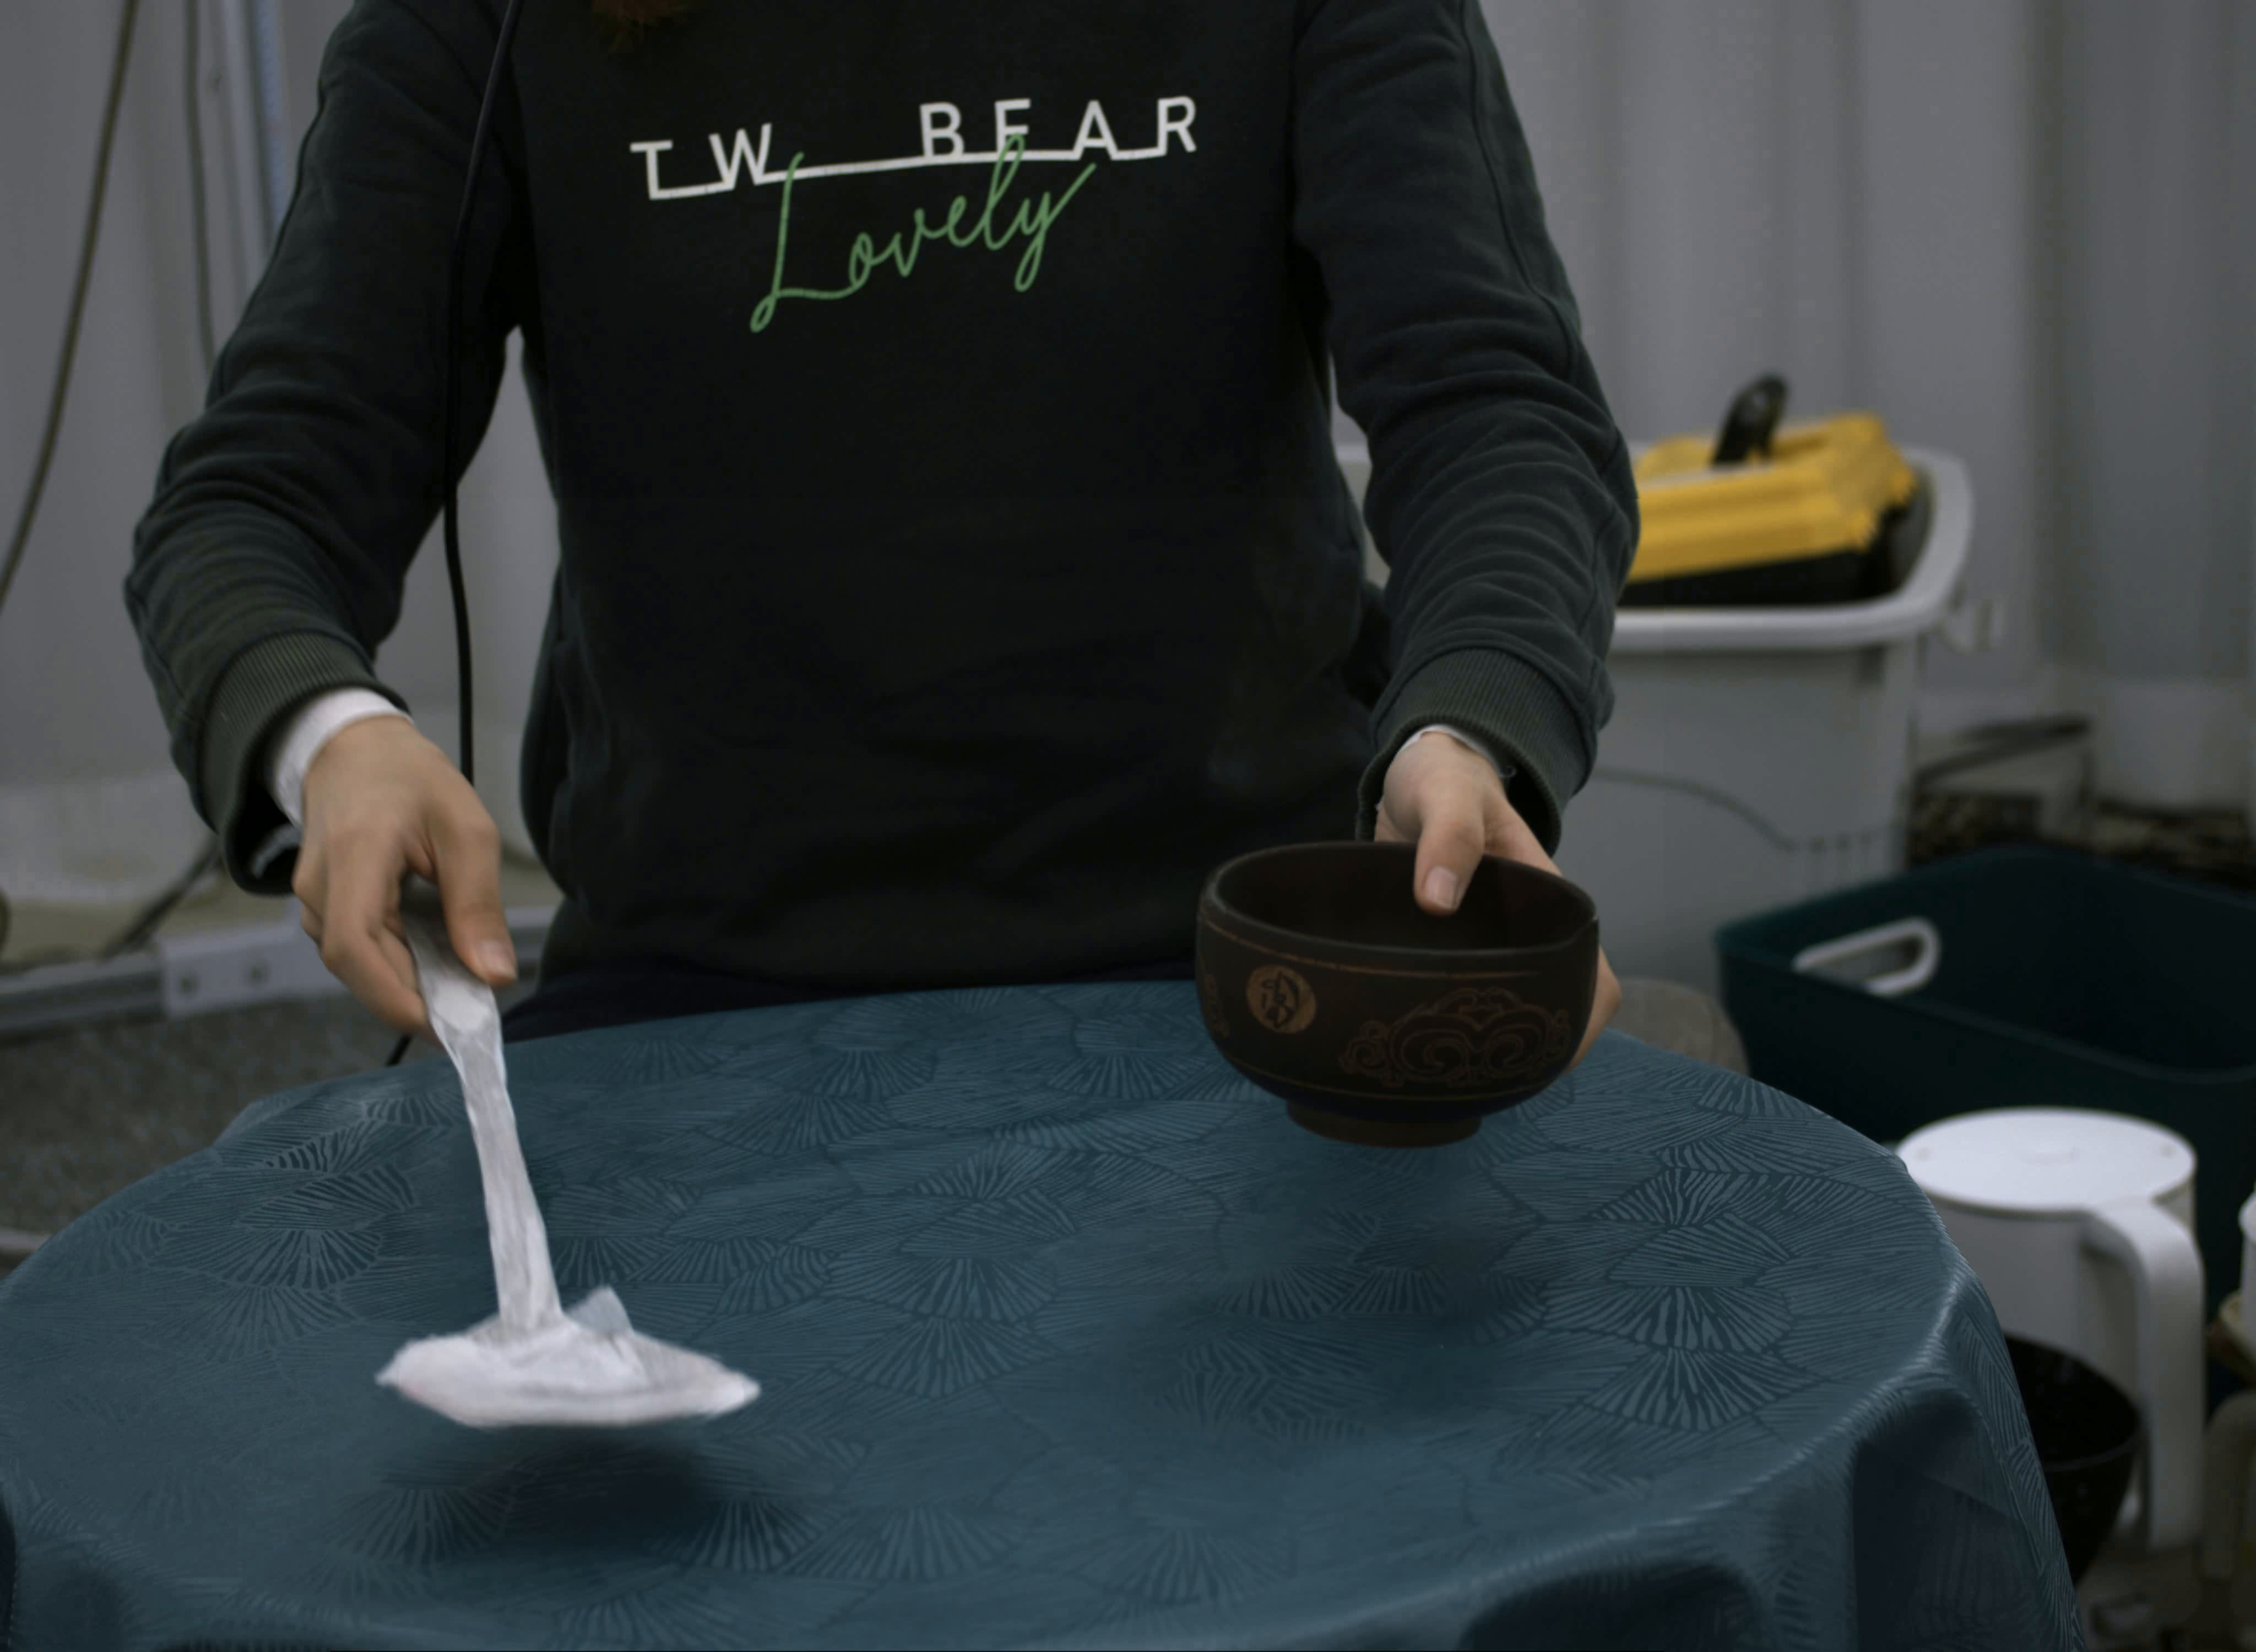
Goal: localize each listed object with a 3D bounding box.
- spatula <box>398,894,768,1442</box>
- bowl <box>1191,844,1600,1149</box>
[{"bbox_3d":[-0.178,0.090,1.596,0.098,0.044,0.370,0,28,-13],"label":"spatula"},{"bbox_3d":[0.076,0.053,1.588,0.117,0.069,0.119,5,13,-1],"label":"bowl"}]
